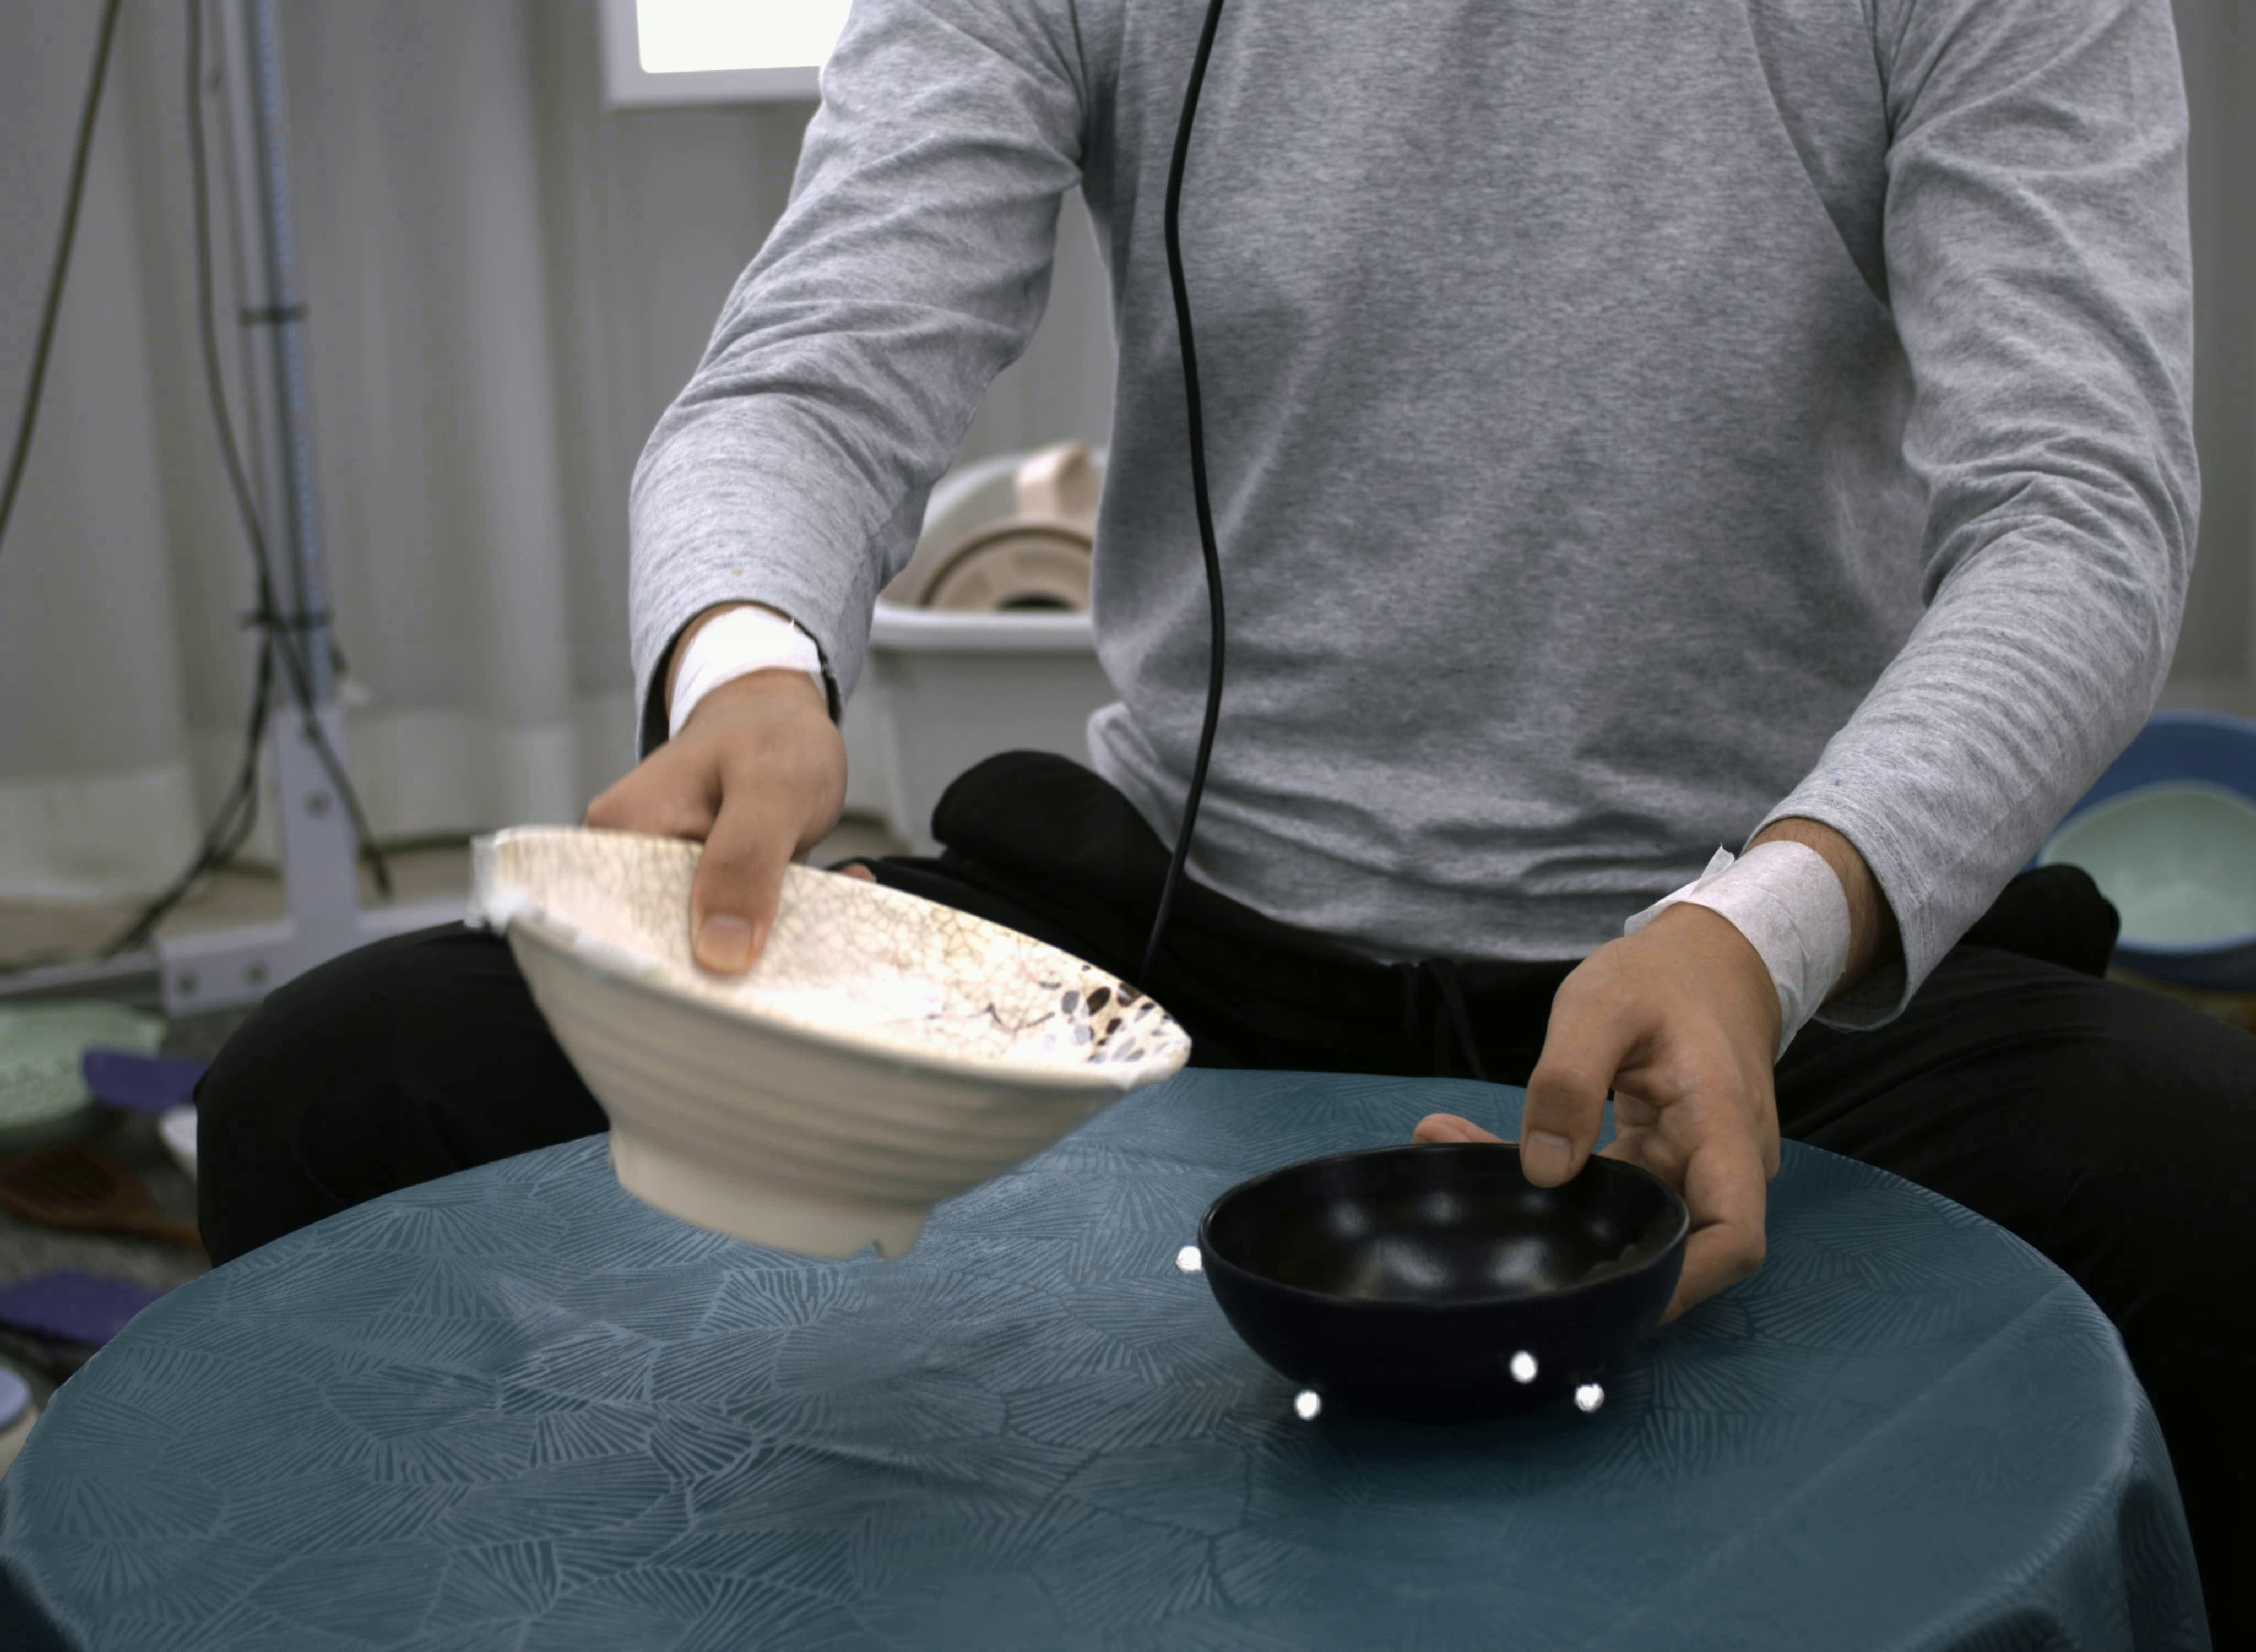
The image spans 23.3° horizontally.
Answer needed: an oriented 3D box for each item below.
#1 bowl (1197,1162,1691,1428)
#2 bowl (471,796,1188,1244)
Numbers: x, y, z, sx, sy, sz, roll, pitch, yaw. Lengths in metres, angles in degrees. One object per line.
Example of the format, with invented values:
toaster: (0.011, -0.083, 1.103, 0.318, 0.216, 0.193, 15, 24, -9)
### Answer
bowl: (0.088, 0.136, 1.535, 0.139, 0.049, 0.141, 0, 11, 0)
bowl: (-0.091, 0.062, 1.484, 0.203, 0.078, 0.205, 18, 9, -3)
